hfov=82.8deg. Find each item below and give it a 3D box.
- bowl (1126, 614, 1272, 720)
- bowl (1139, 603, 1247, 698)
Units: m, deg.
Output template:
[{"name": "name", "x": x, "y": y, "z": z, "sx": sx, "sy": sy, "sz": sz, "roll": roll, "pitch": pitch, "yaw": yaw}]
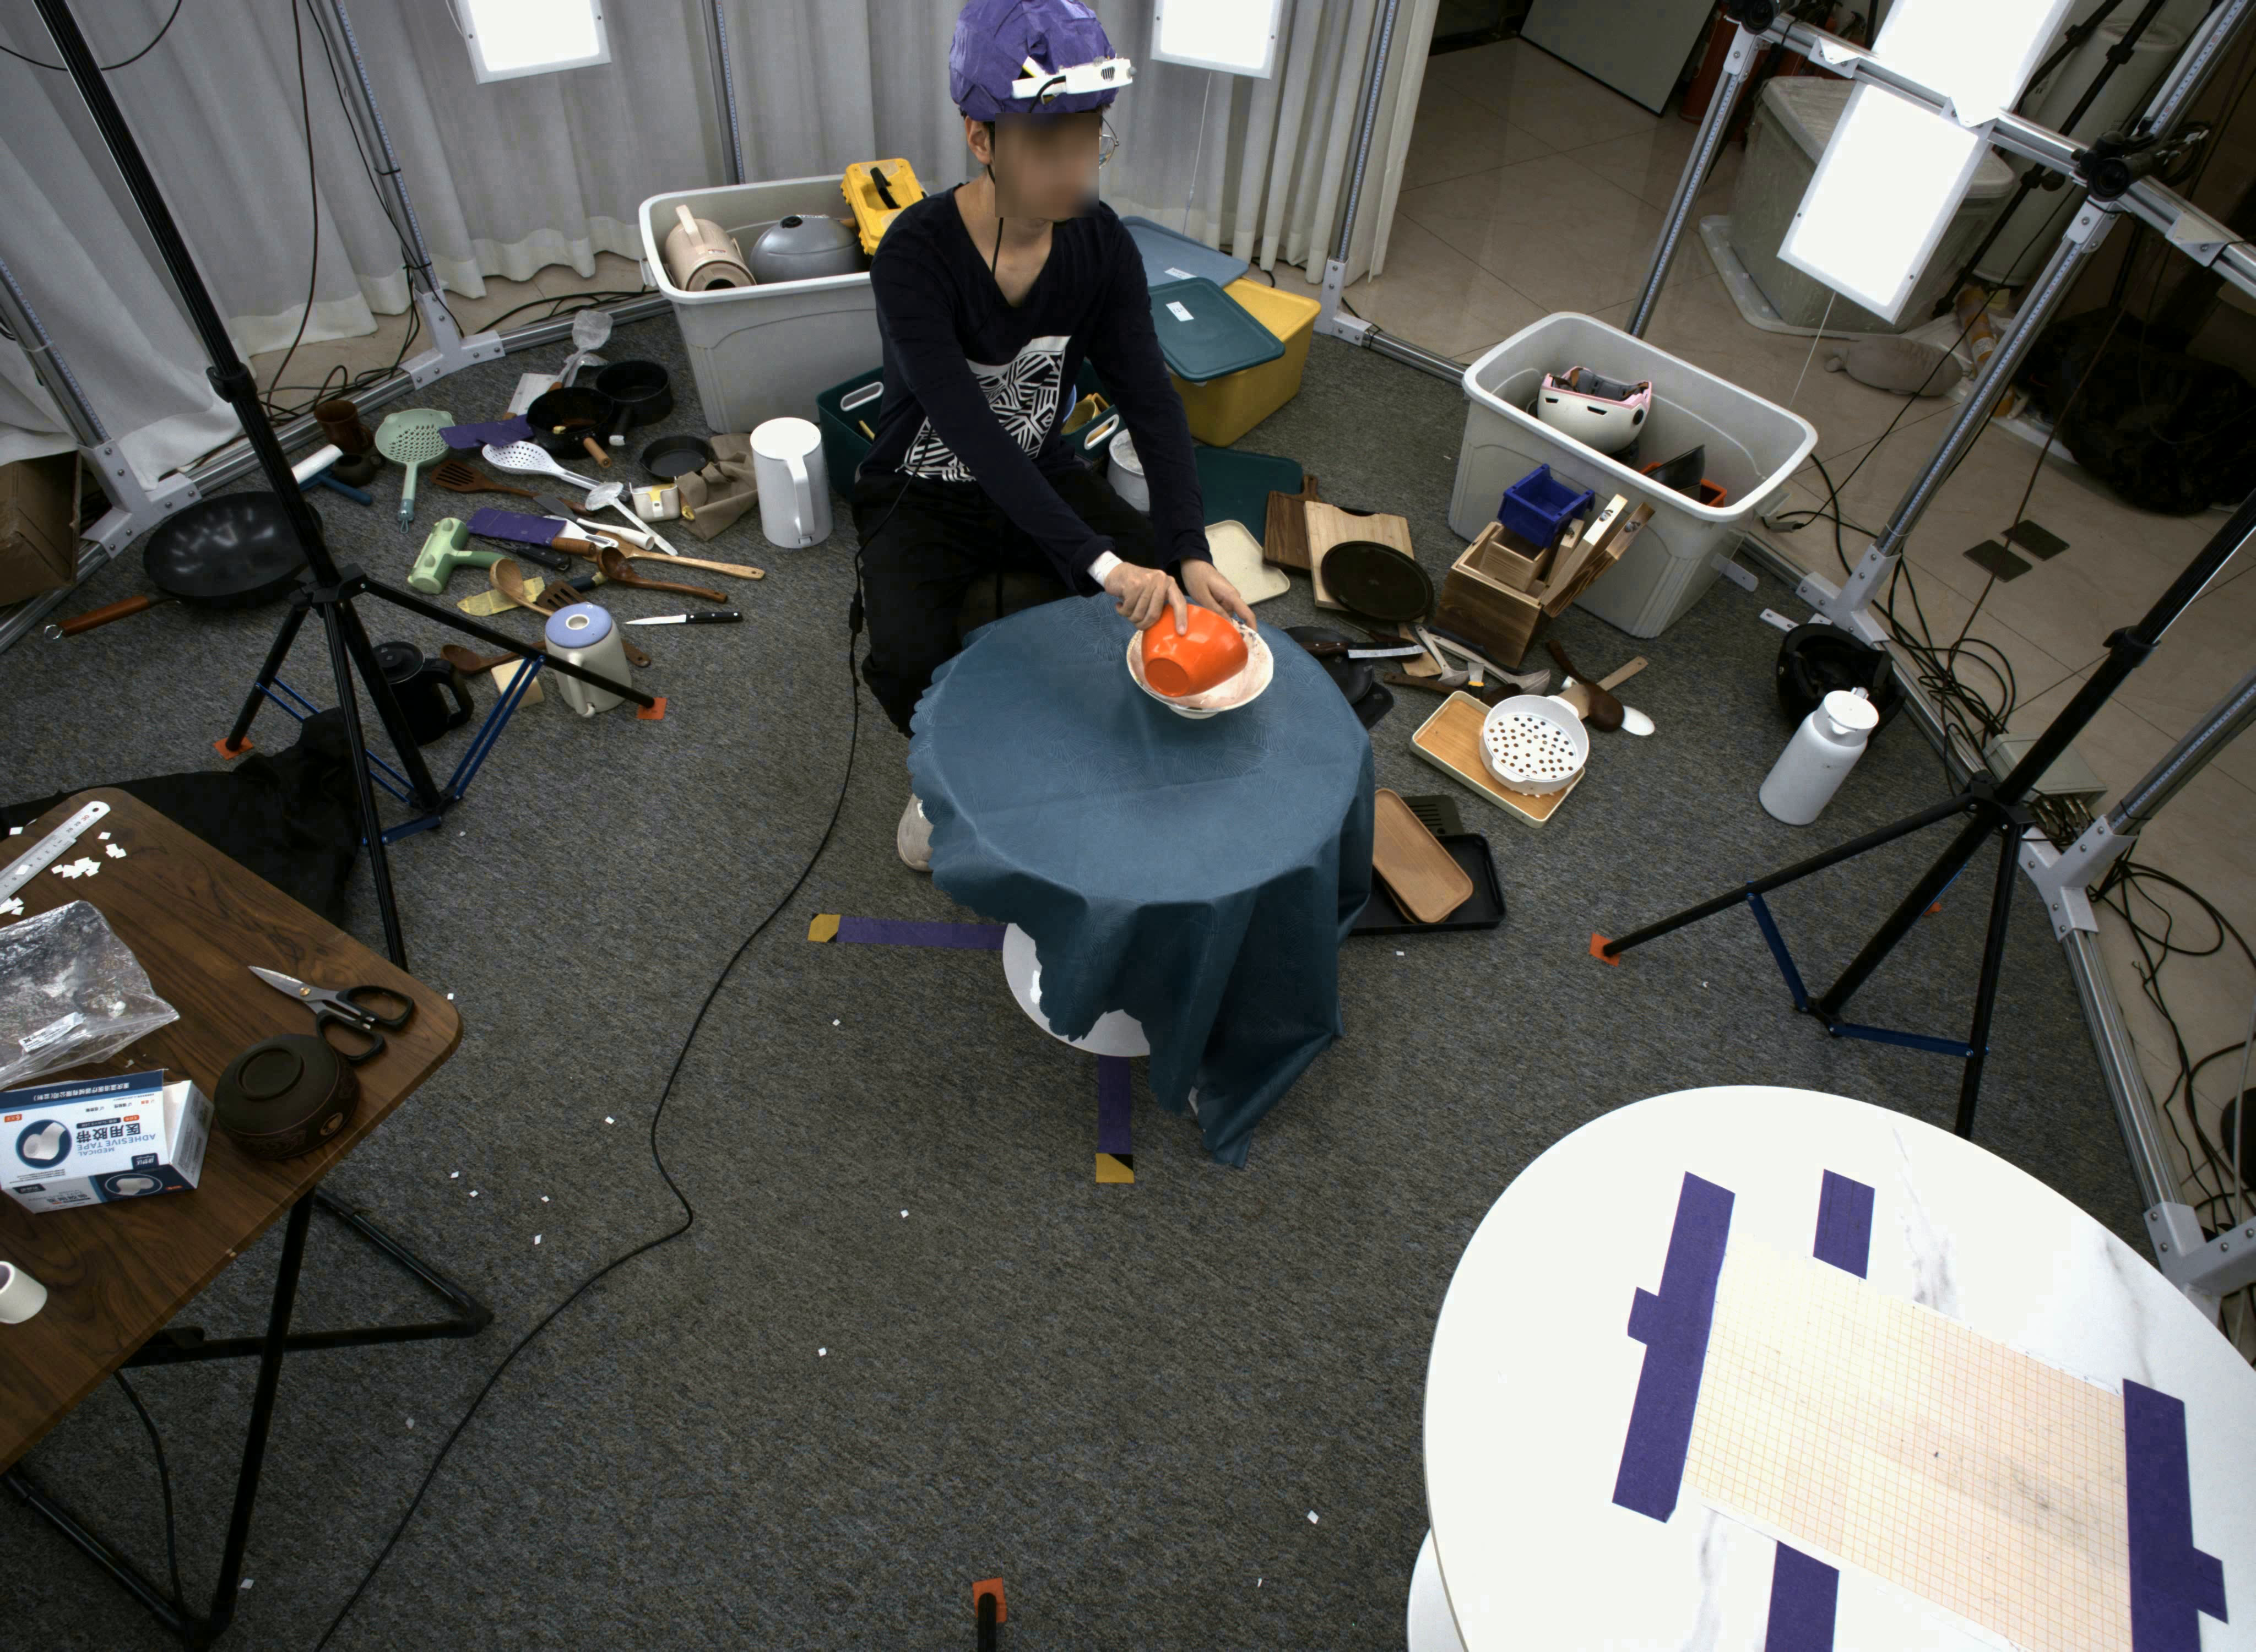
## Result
[{"name": "bowl", "x": 0.096, "y": -0.206, "z": 1.803, "sx": 0.204, "sy": 0.076, "sz": 0.209, "roll": 2, "pitch": 48, "yaw": -3}, {"name": "bowl", "x": 0.073, "y": -0.219, "z": 1.707, "sx": 0.149, "sy": 0.144, "sz": 0.106, "roll": 22, "pitch": 51, "yaw": 13}]
